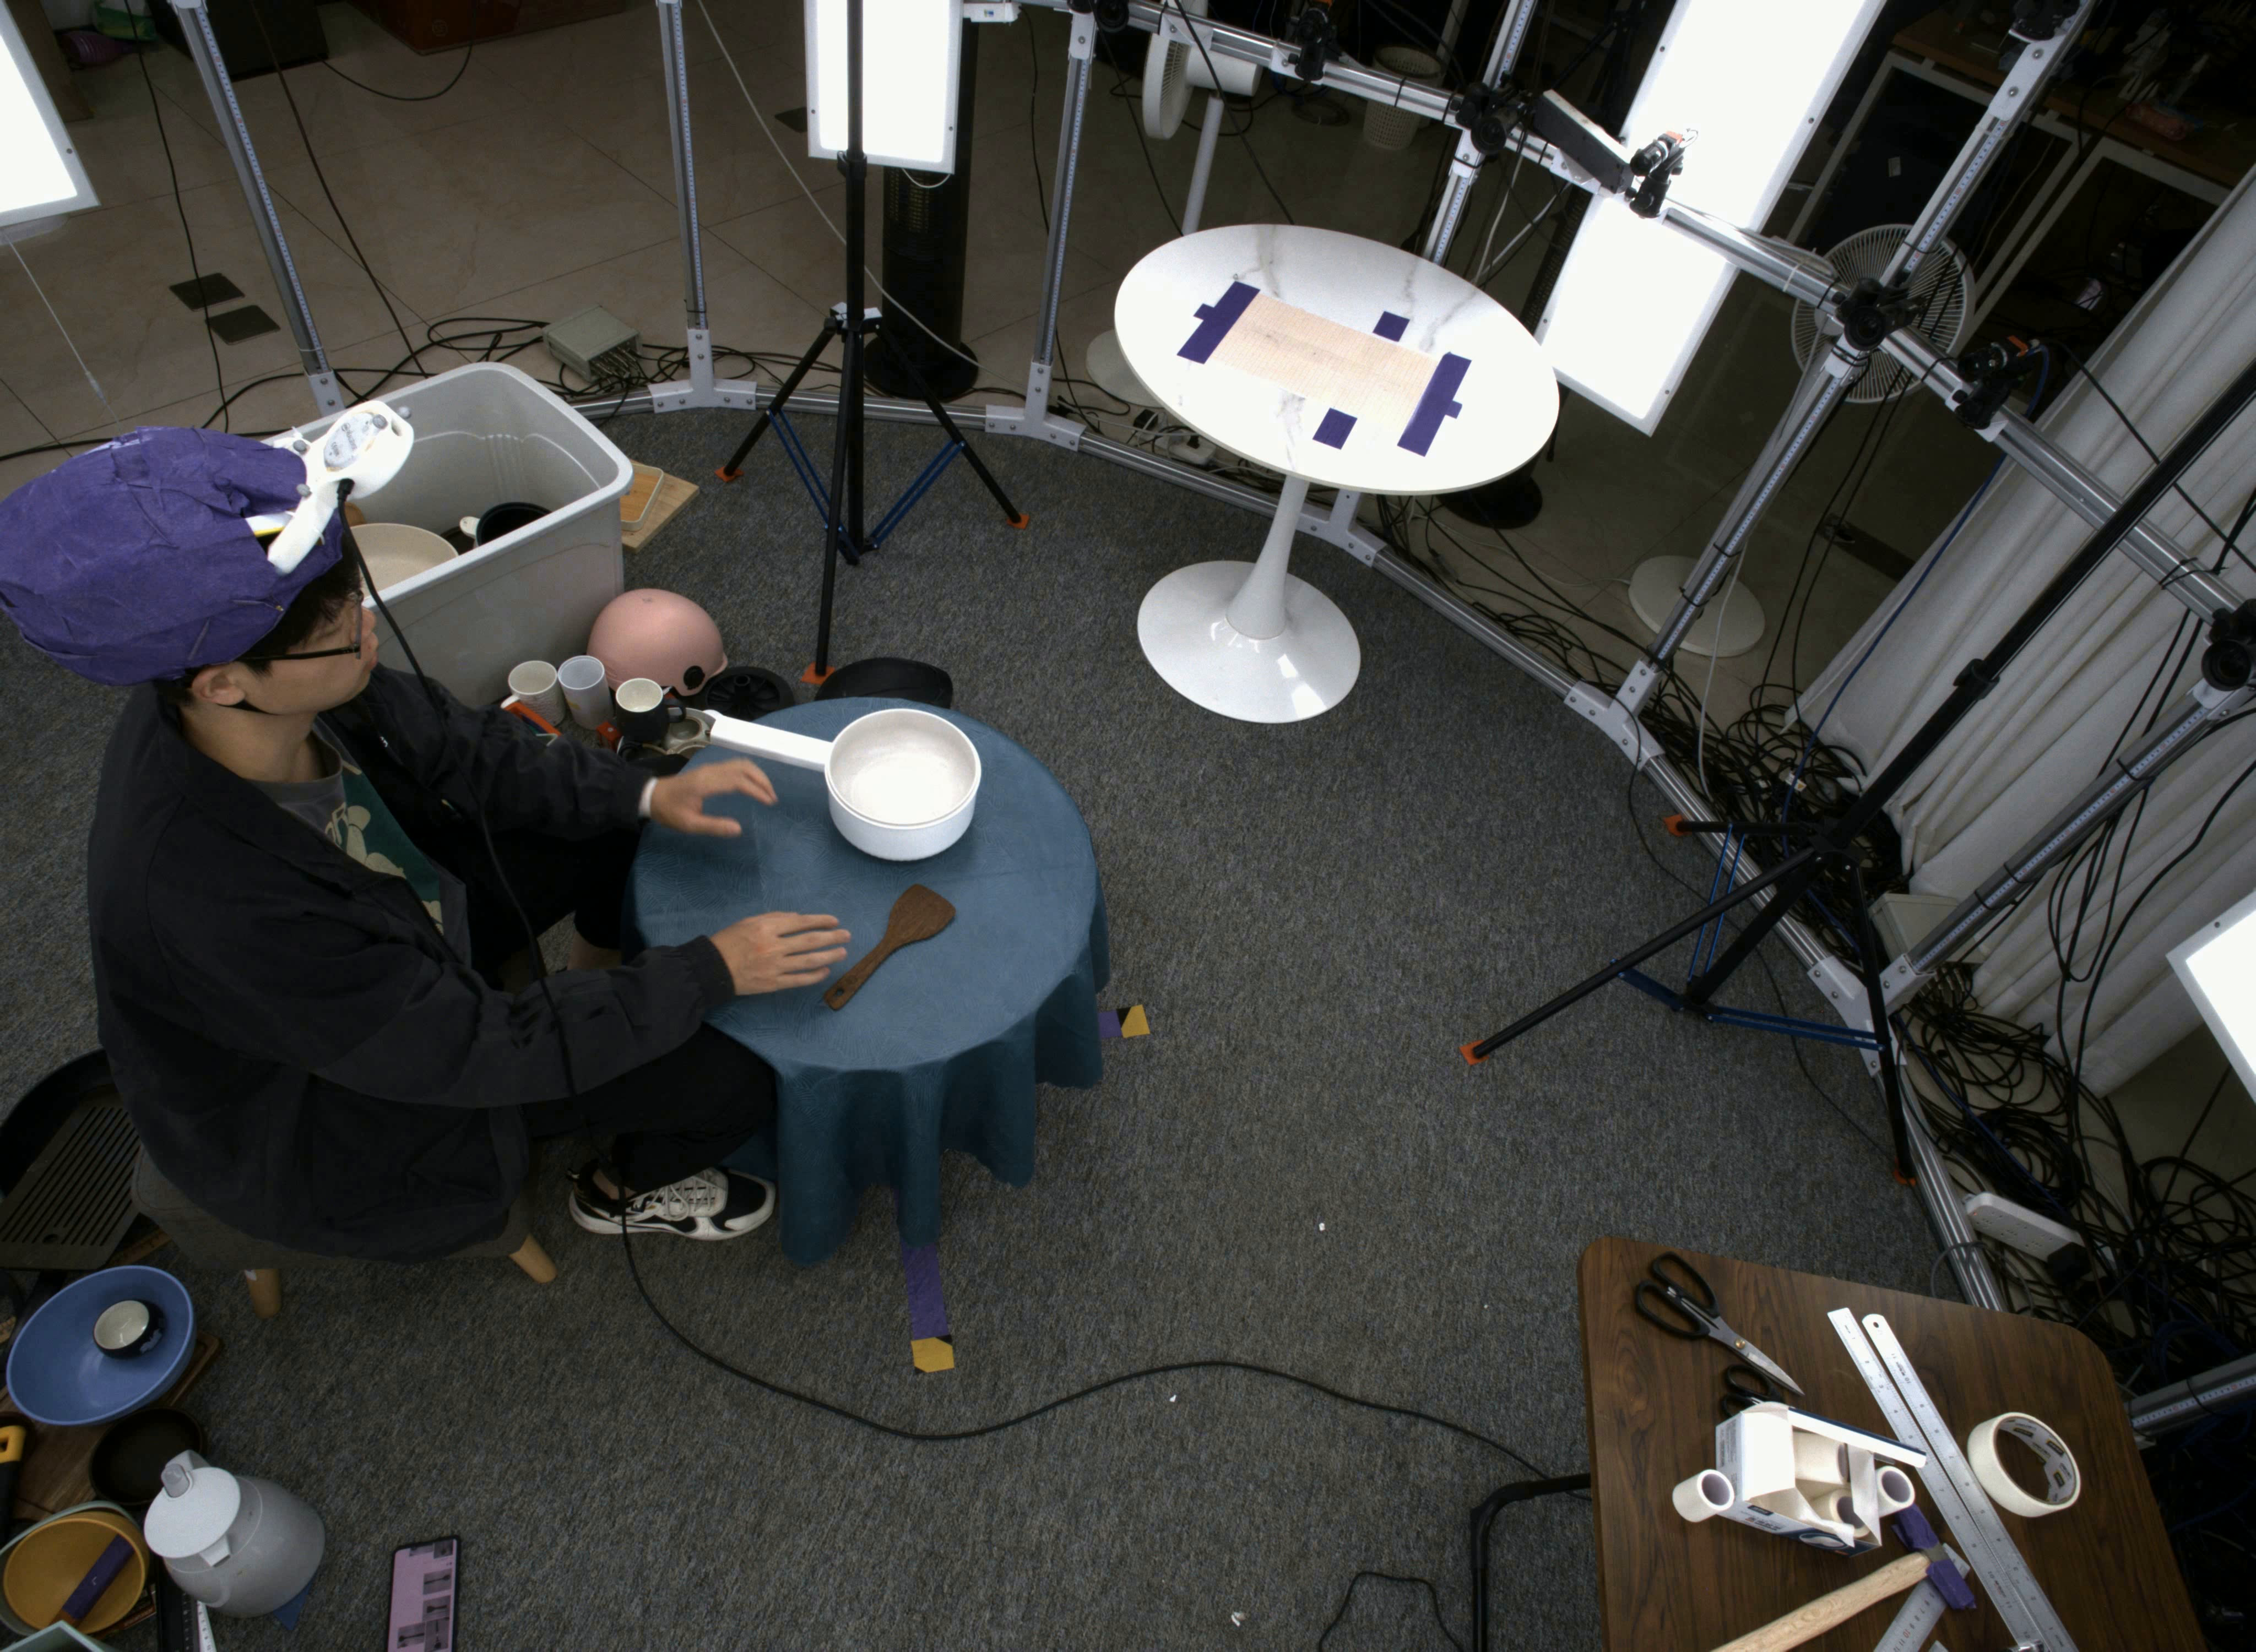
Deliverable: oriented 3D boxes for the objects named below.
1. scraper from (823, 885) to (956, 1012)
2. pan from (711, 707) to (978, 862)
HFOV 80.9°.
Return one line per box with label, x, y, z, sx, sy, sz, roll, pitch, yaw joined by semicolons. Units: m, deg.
scraper;-0.305;0.154;1.635;0.074;0.011;0.211;33;54;13
pan;-0.375;-0.067;1.726;0.352;0.104;0.198;12;53;-2
